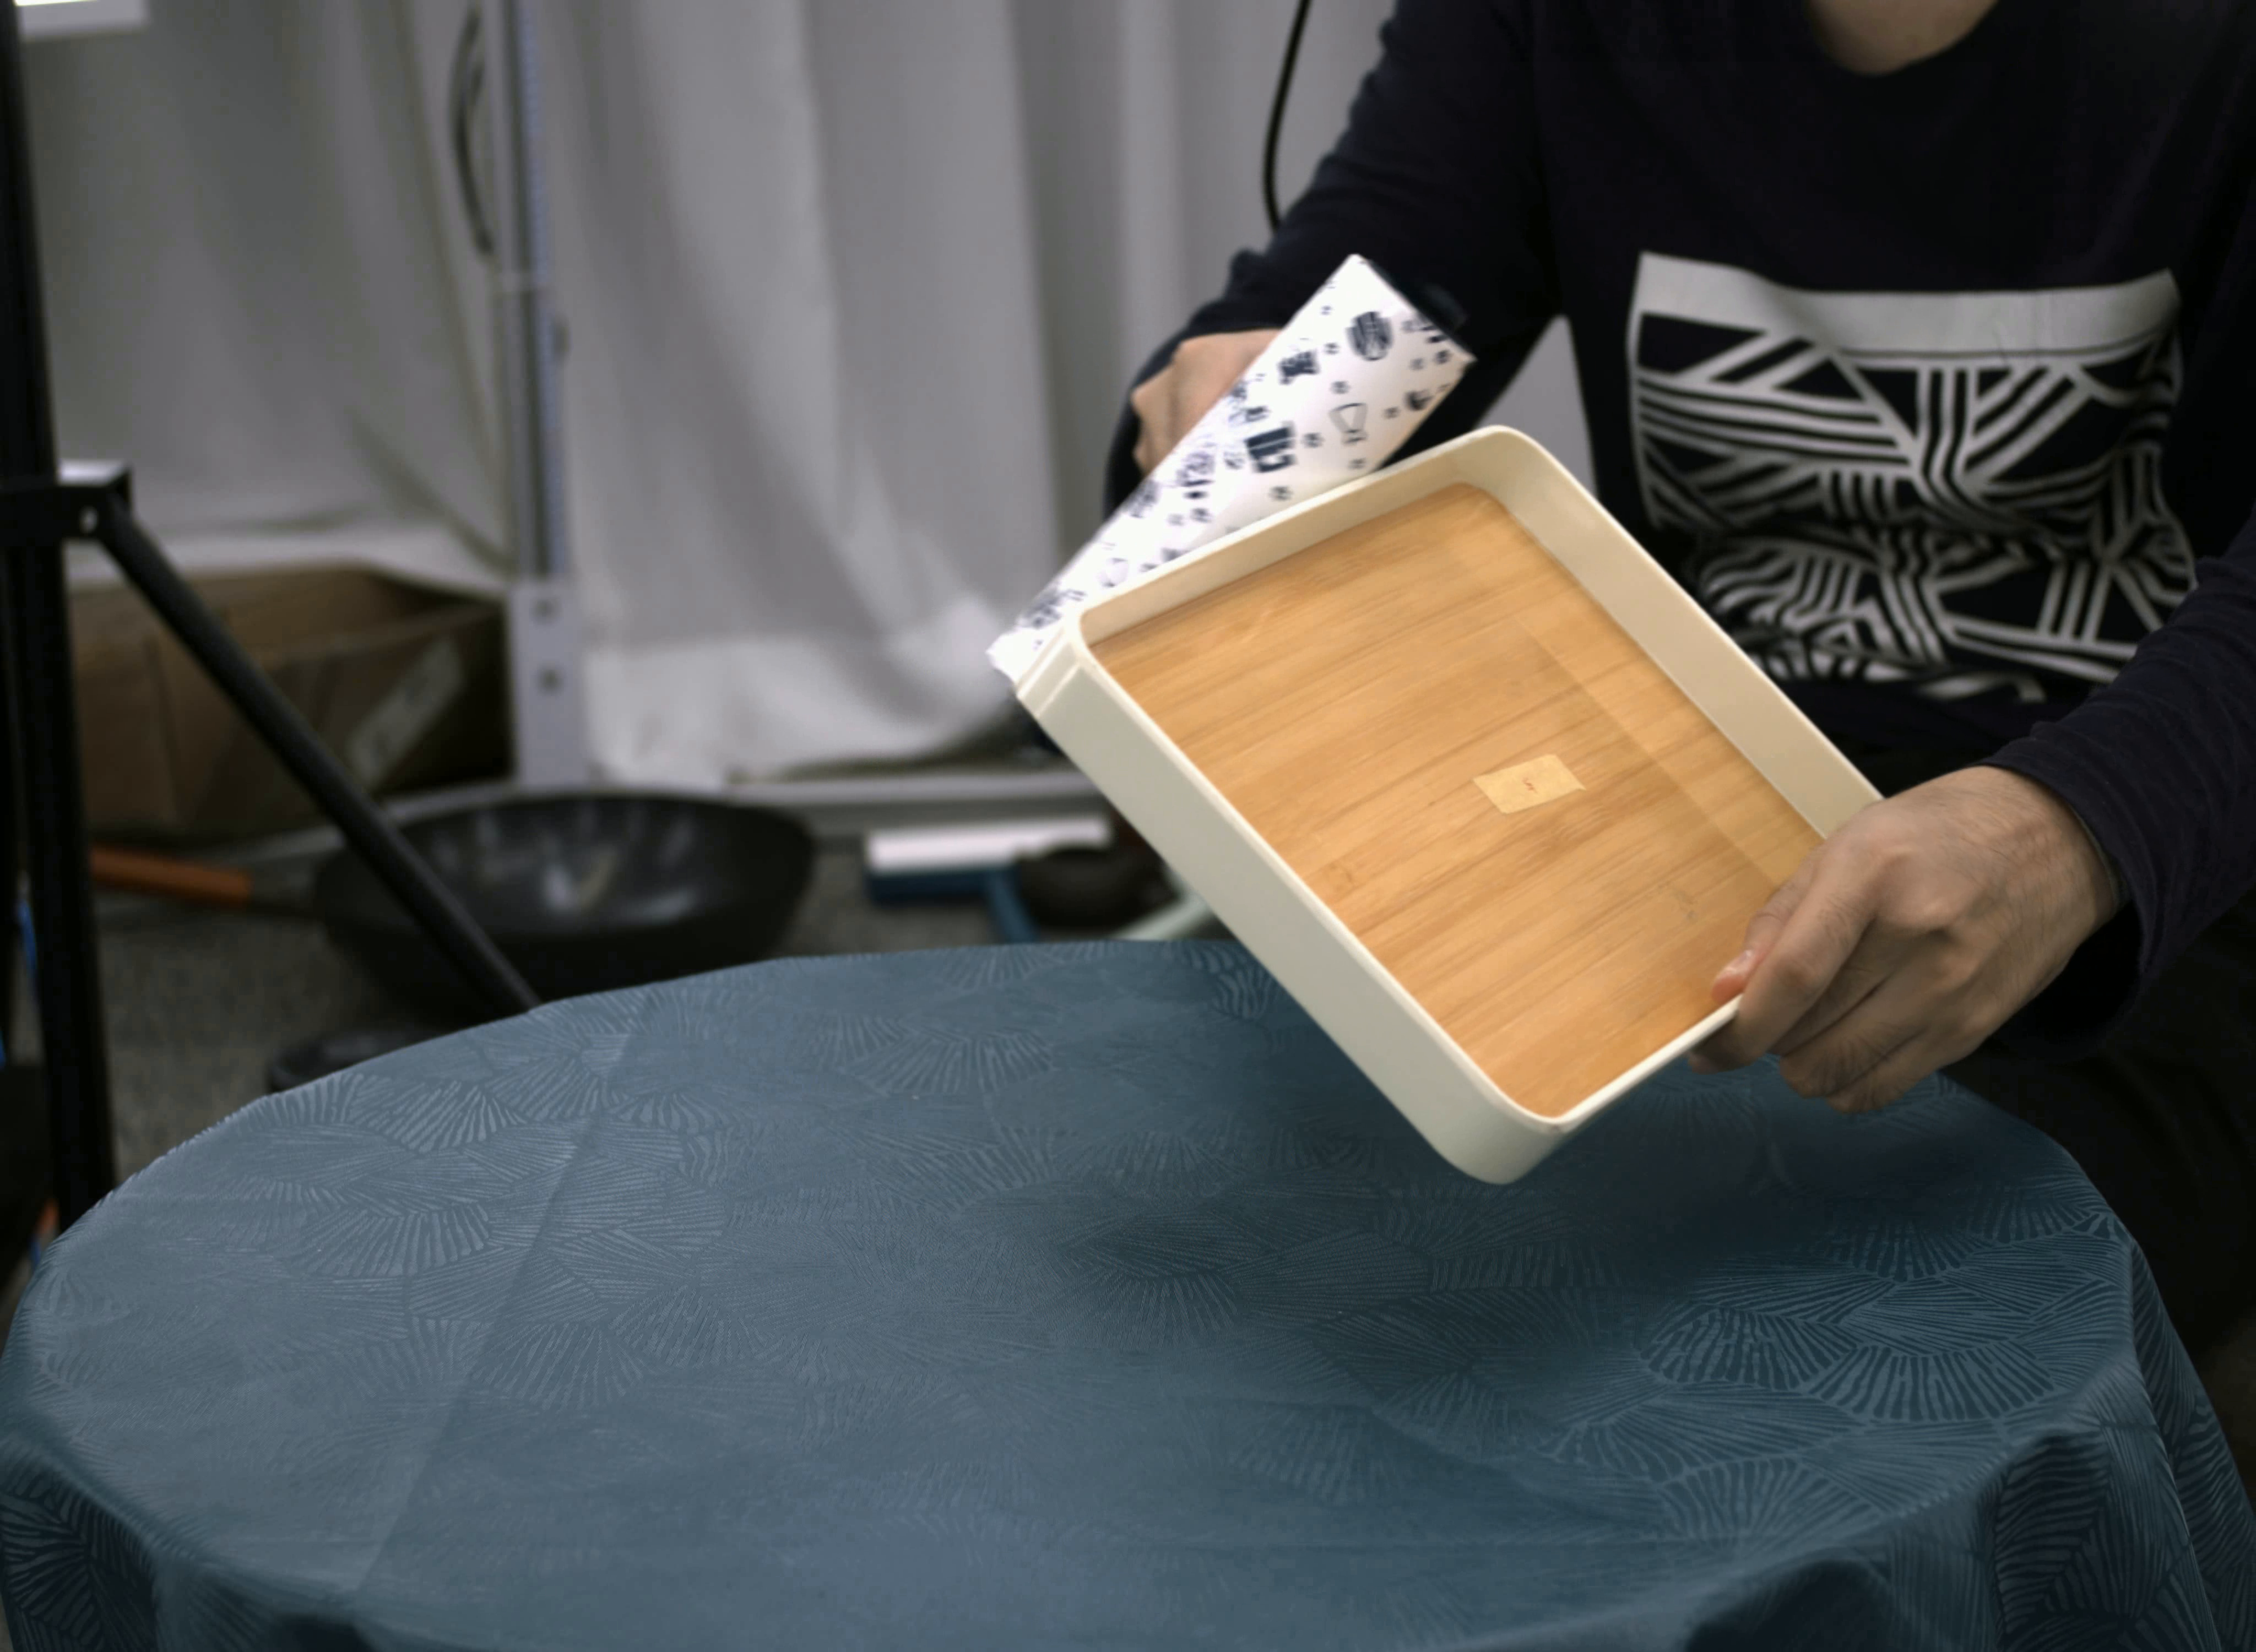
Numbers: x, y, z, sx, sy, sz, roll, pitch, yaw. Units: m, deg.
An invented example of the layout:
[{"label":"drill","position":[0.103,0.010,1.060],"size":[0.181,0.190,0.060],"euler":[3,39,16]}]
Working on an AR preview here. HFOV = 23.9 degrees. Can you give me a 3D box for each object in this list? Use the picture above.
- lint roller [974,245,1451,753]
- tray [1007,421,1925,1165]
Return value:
[{"label":"lint roller","position":[0.032,-0.103,1.649],"size":[0.050,0.177,0.246],"euler":[43,8,-1]},{"label":"tray","position":[0.102,-0.017,1.488],"size":[0.193,0.027,0.295],"euler":[44,30,12]}]
